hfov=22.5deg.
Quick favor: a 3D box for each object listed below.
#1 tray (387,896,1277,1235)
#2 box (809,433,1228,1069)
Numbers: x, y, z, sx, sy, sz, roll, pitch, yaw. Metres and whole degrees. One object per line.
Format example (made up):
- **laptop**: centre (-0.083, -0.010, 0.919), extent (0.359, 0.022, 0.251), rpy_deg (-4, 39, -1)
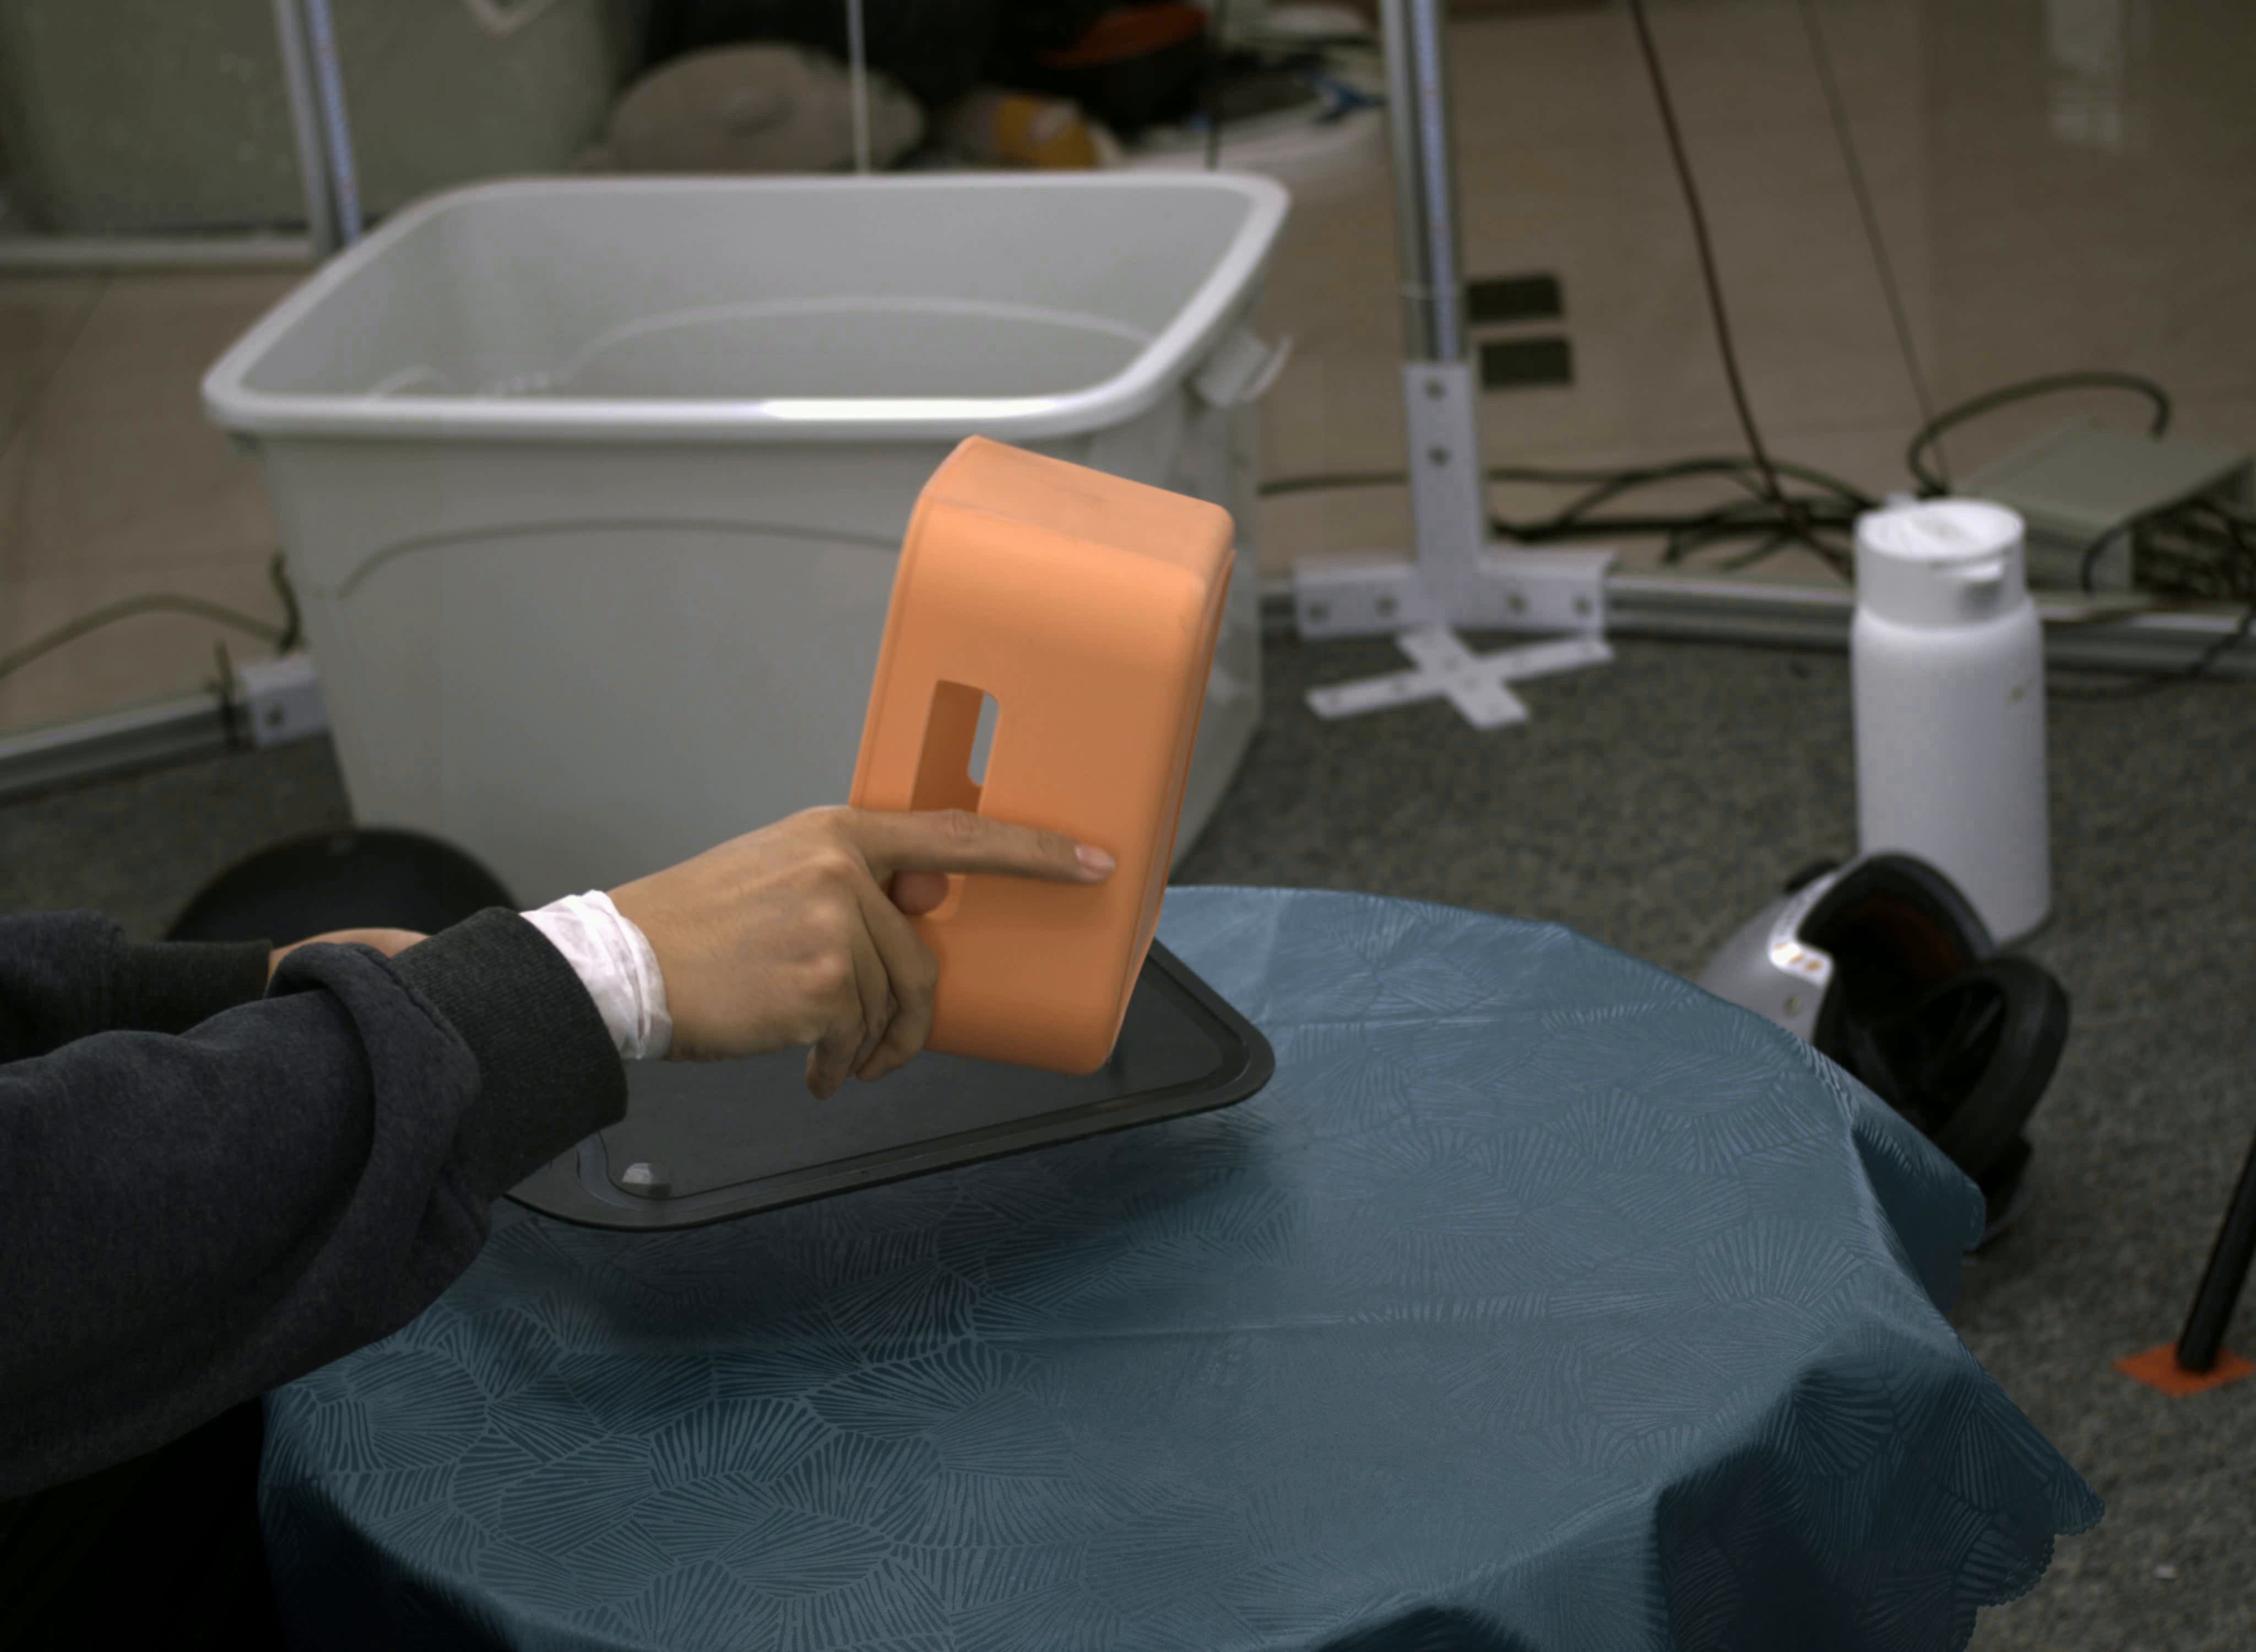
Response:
- **tray**: centre (-0.118, 0.082, 2.156), extent (0.324, 0.010, 0.208), rpy_deg (-11, 31, -27)
- **box**: centre (-0.033, -0.025, 1.955), extent (0.102, 0.201, 0.271), rpy_deg (11, 10, 2)
